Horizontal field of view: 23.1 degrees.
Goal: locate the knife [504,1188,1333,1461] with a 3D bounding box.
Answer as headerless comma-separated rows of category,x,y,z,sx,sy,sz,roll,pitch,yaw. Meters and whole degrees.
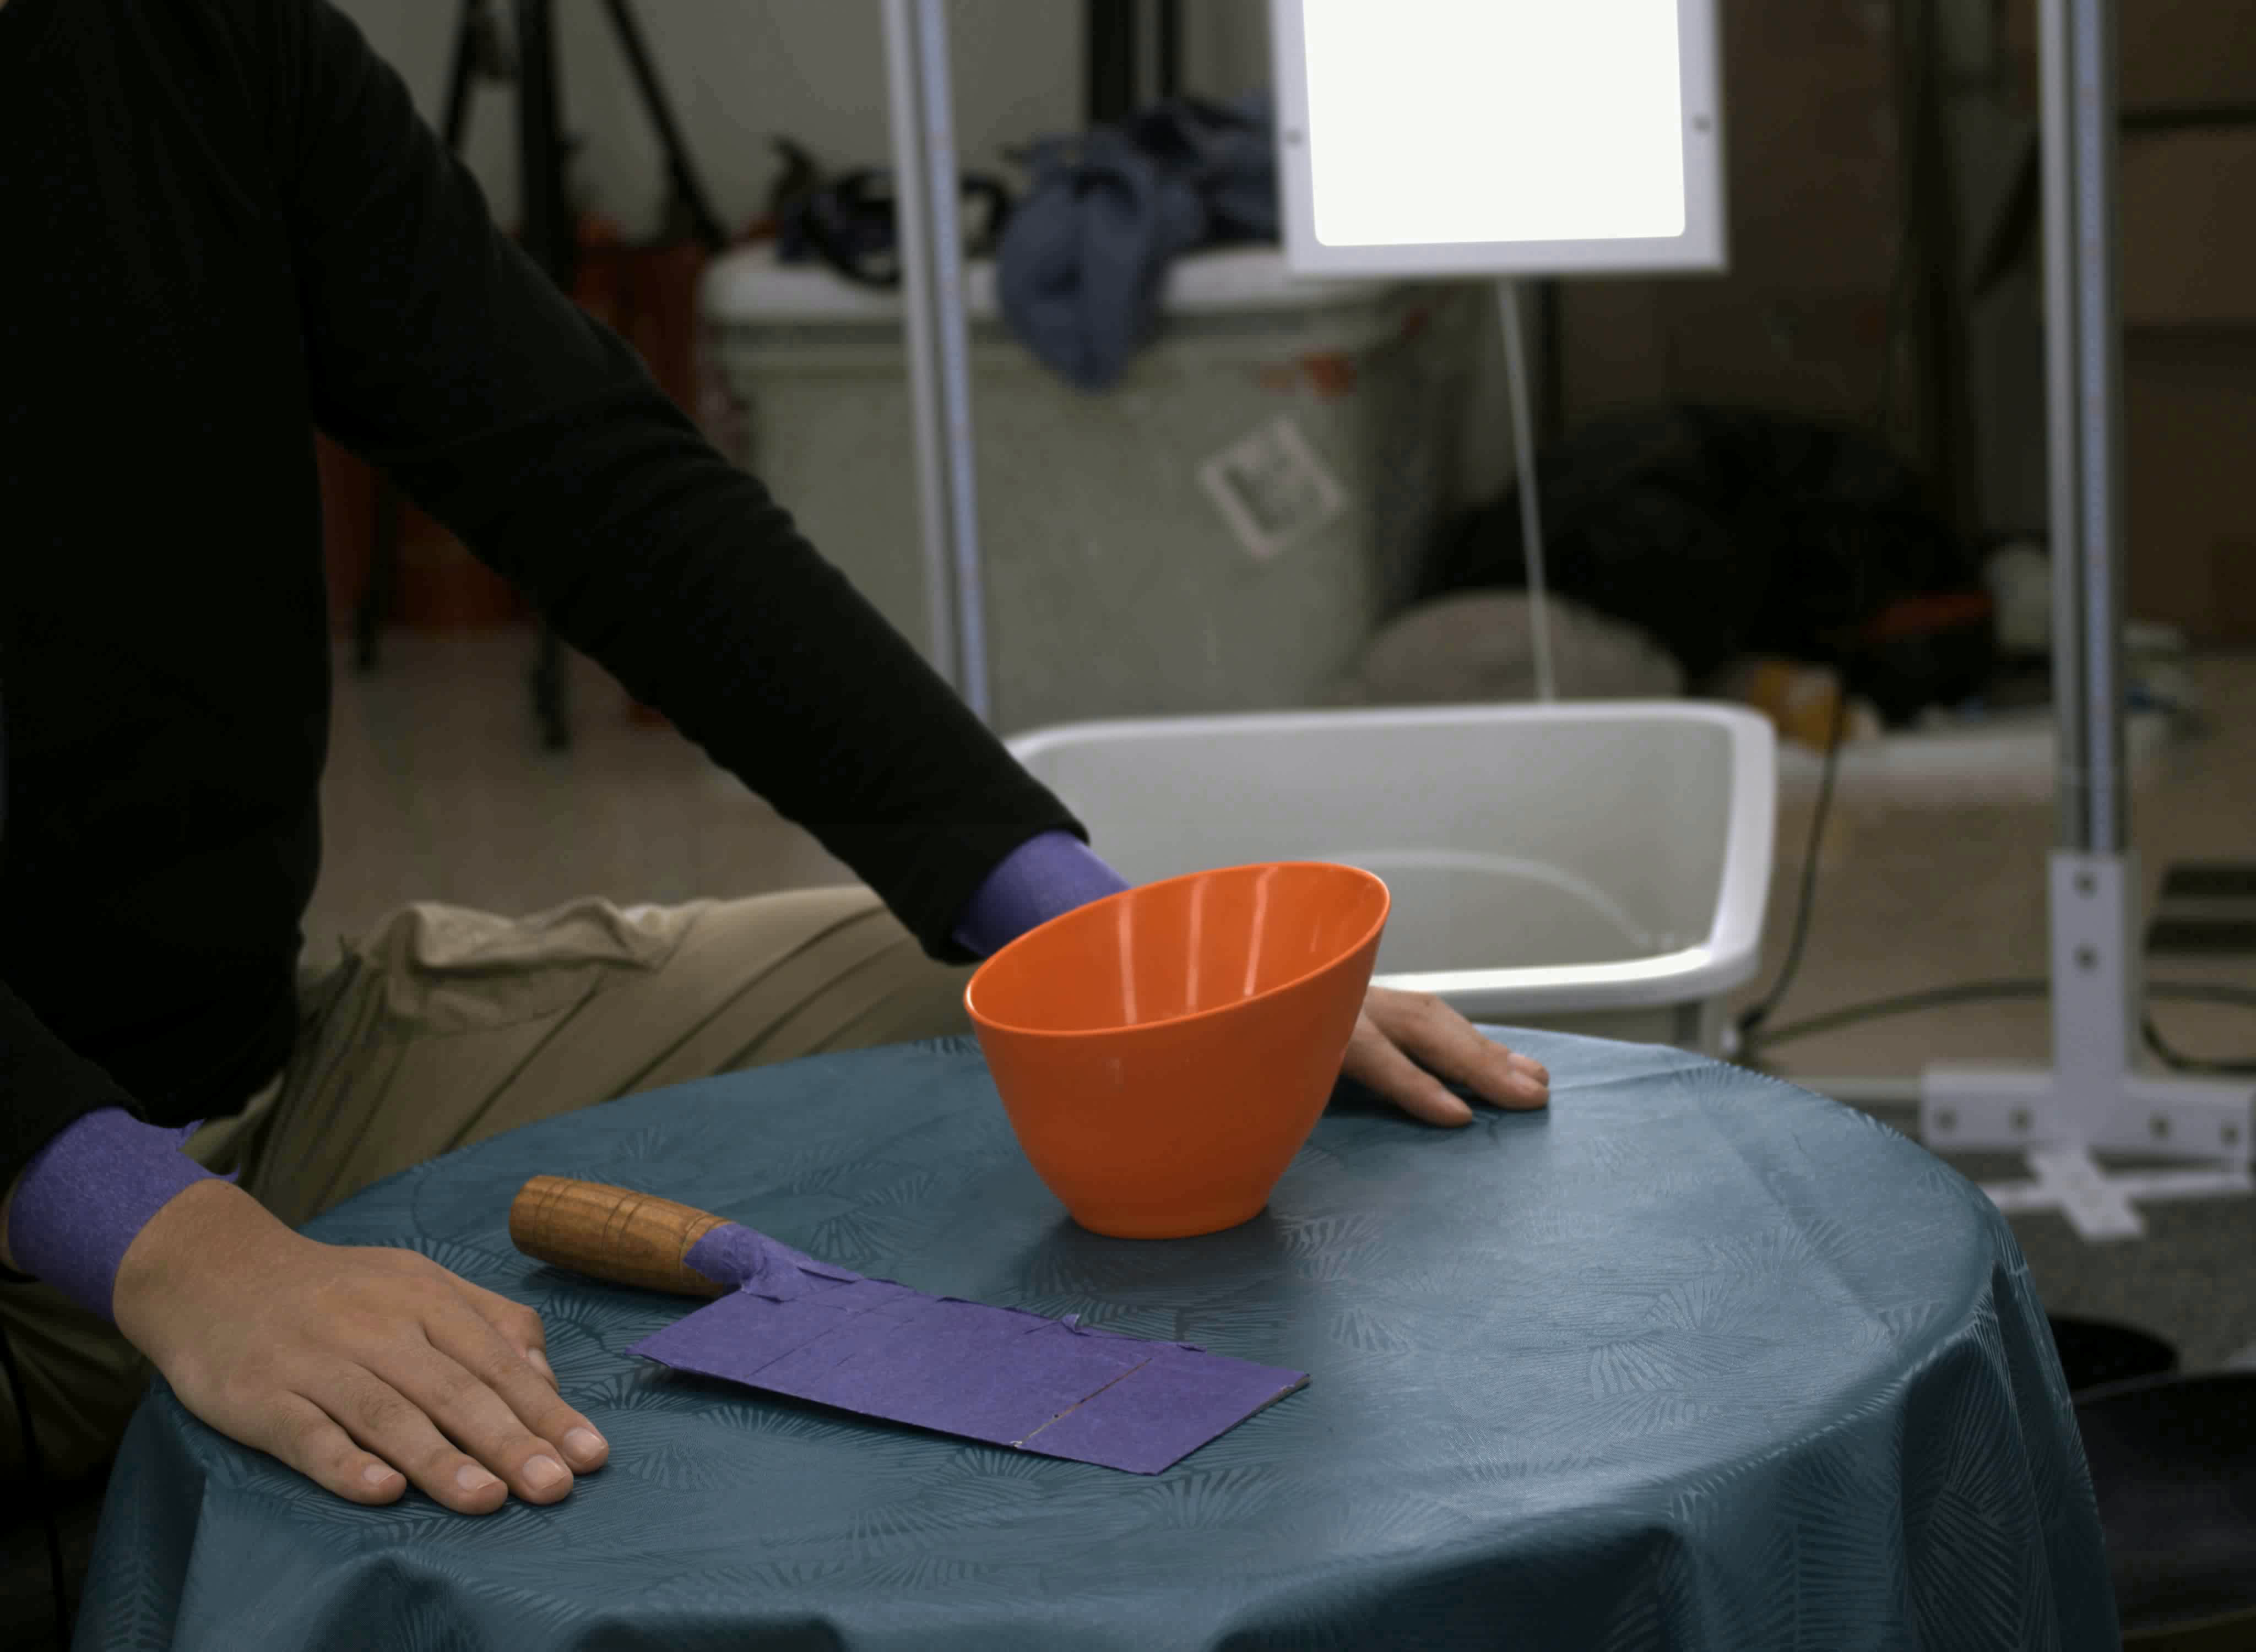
knife,-0.091,0.157,1.753,0.322,0.032,0.101,6,17,36

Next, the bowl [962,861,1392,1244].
bowl,0.020,0.080,1.867,0.147,0.105,0.148,-5,16,0
